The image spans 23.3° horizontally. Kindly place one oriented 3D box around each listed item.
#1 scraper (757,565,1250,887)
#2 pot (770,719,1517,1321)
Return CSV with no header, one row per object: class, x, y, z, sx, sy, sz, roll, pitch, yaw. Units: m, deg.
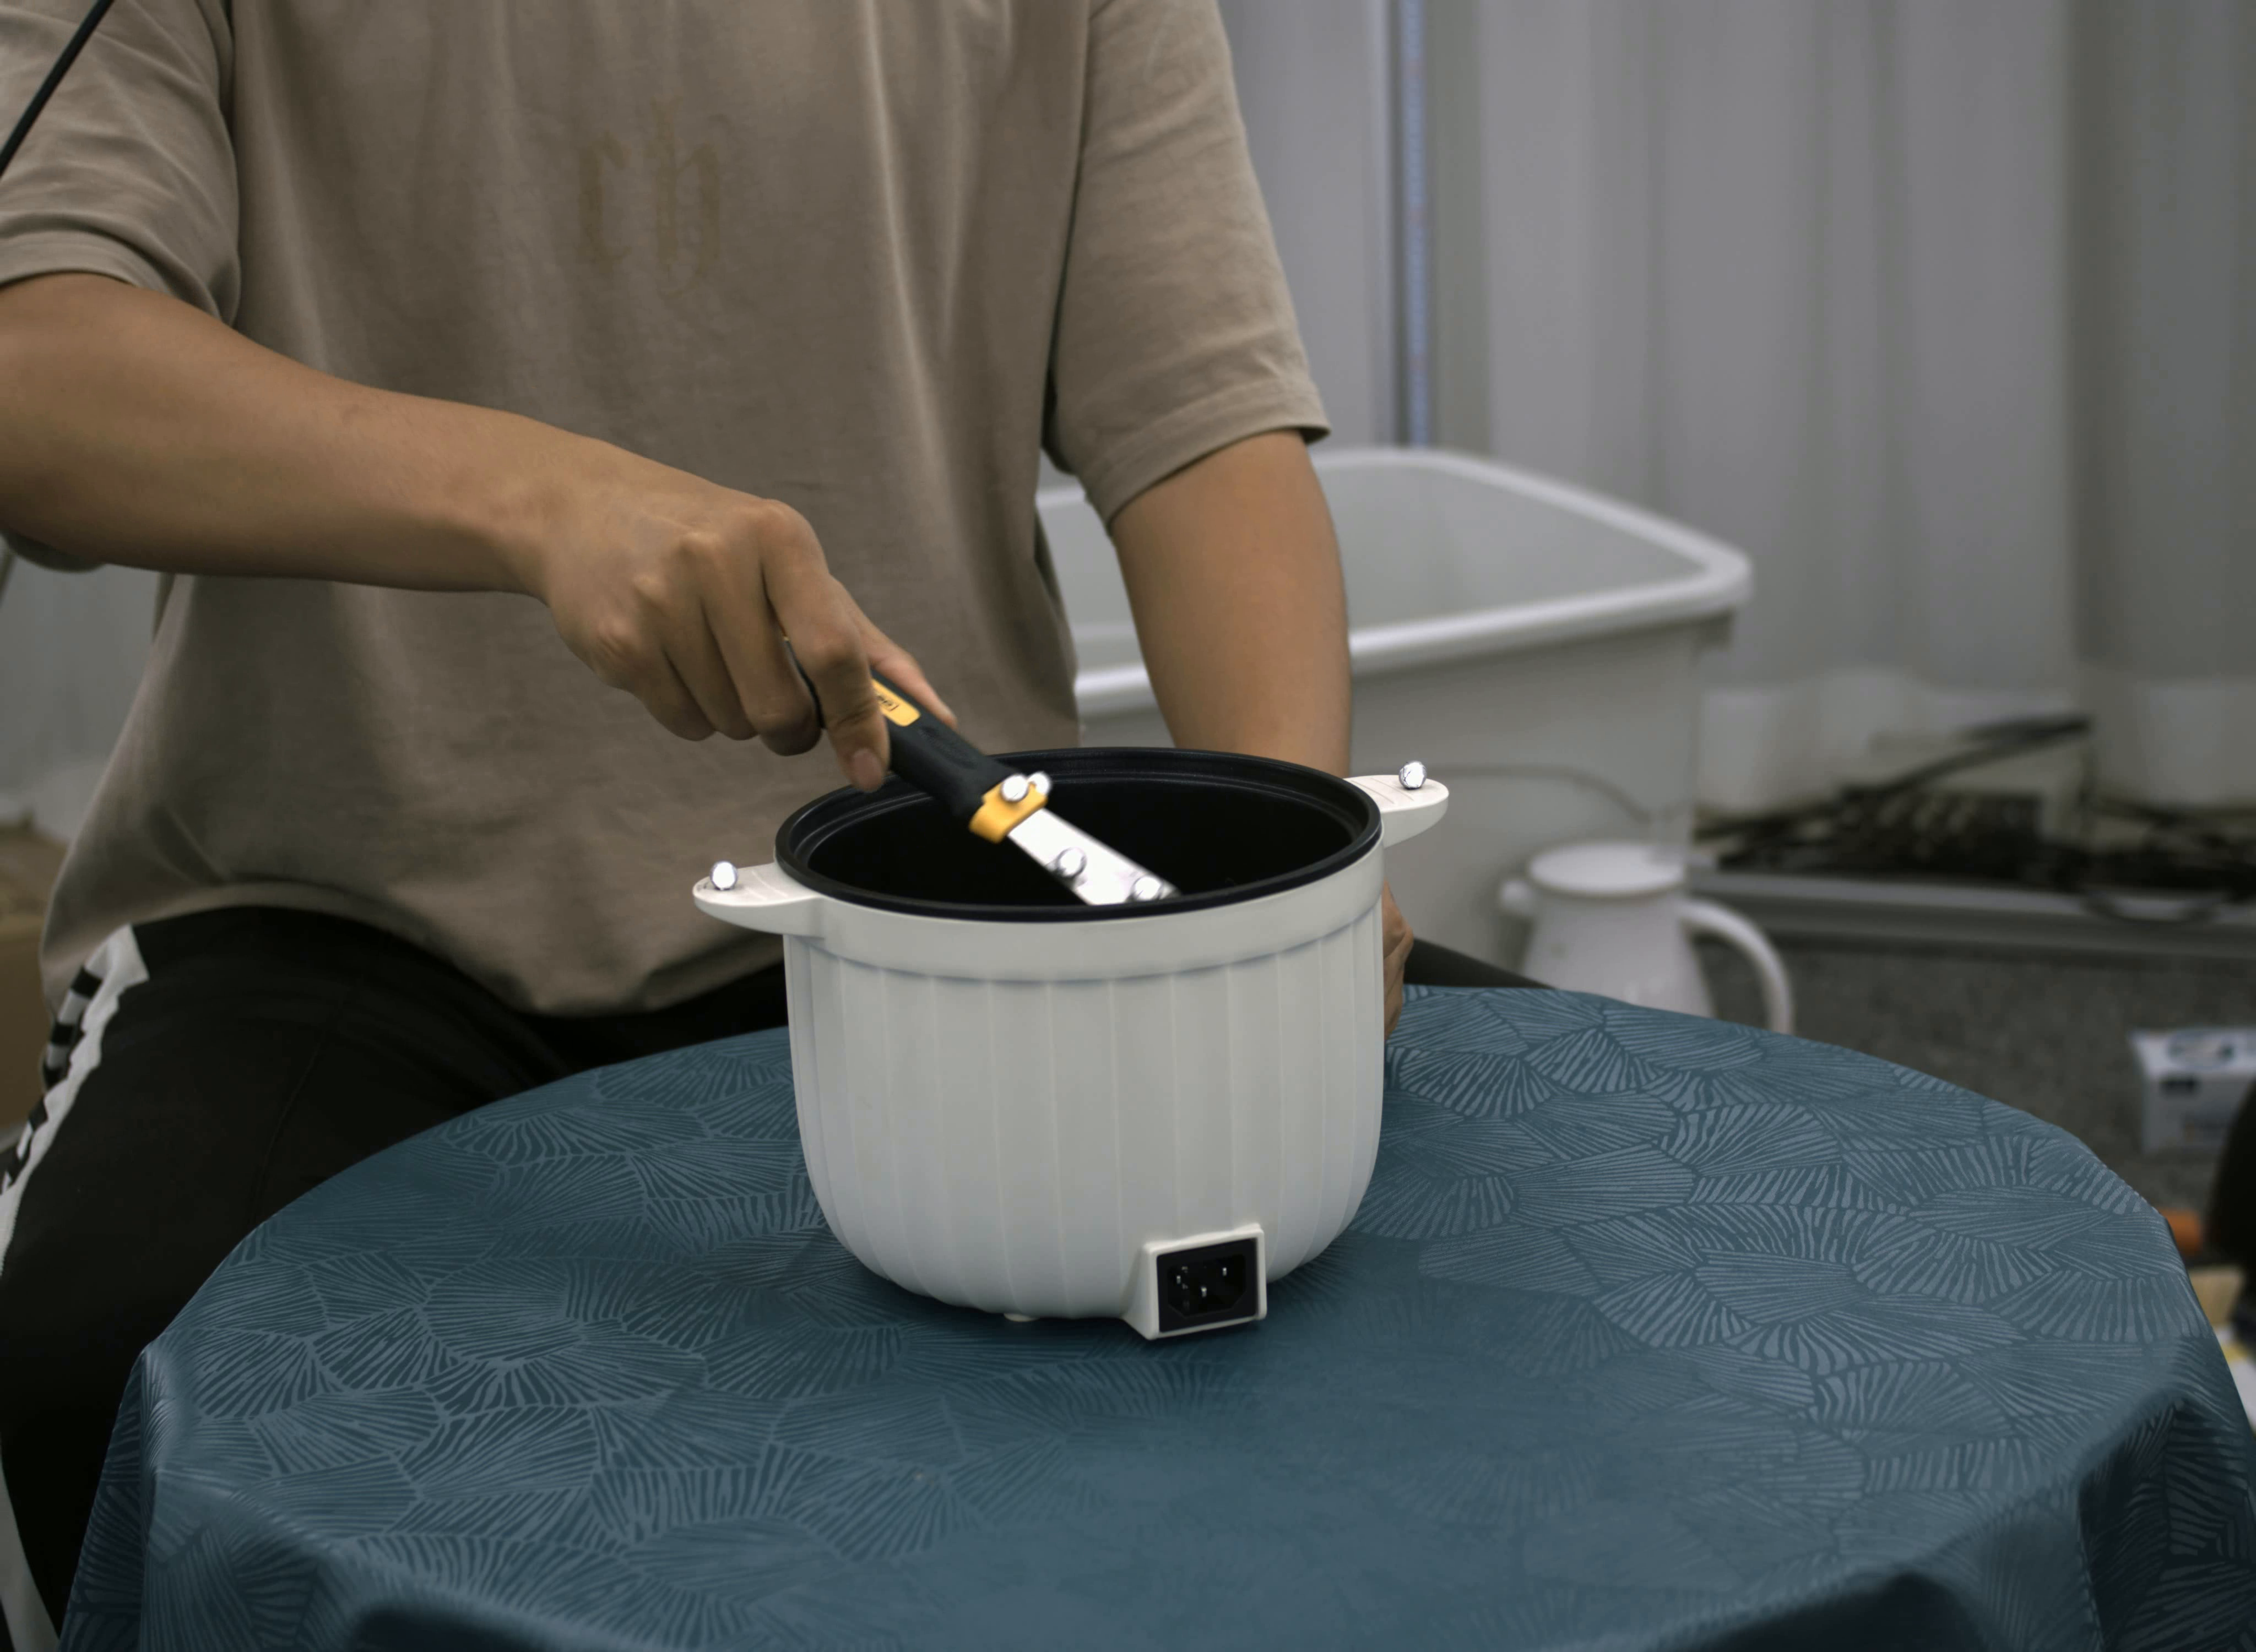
scraper,-0.040,-0.026,1.639,0.171,0.015,0.039,35,38,10
pot,0.006,0.056,1.648,0.239,0.142,0.192,-8,19,-22
